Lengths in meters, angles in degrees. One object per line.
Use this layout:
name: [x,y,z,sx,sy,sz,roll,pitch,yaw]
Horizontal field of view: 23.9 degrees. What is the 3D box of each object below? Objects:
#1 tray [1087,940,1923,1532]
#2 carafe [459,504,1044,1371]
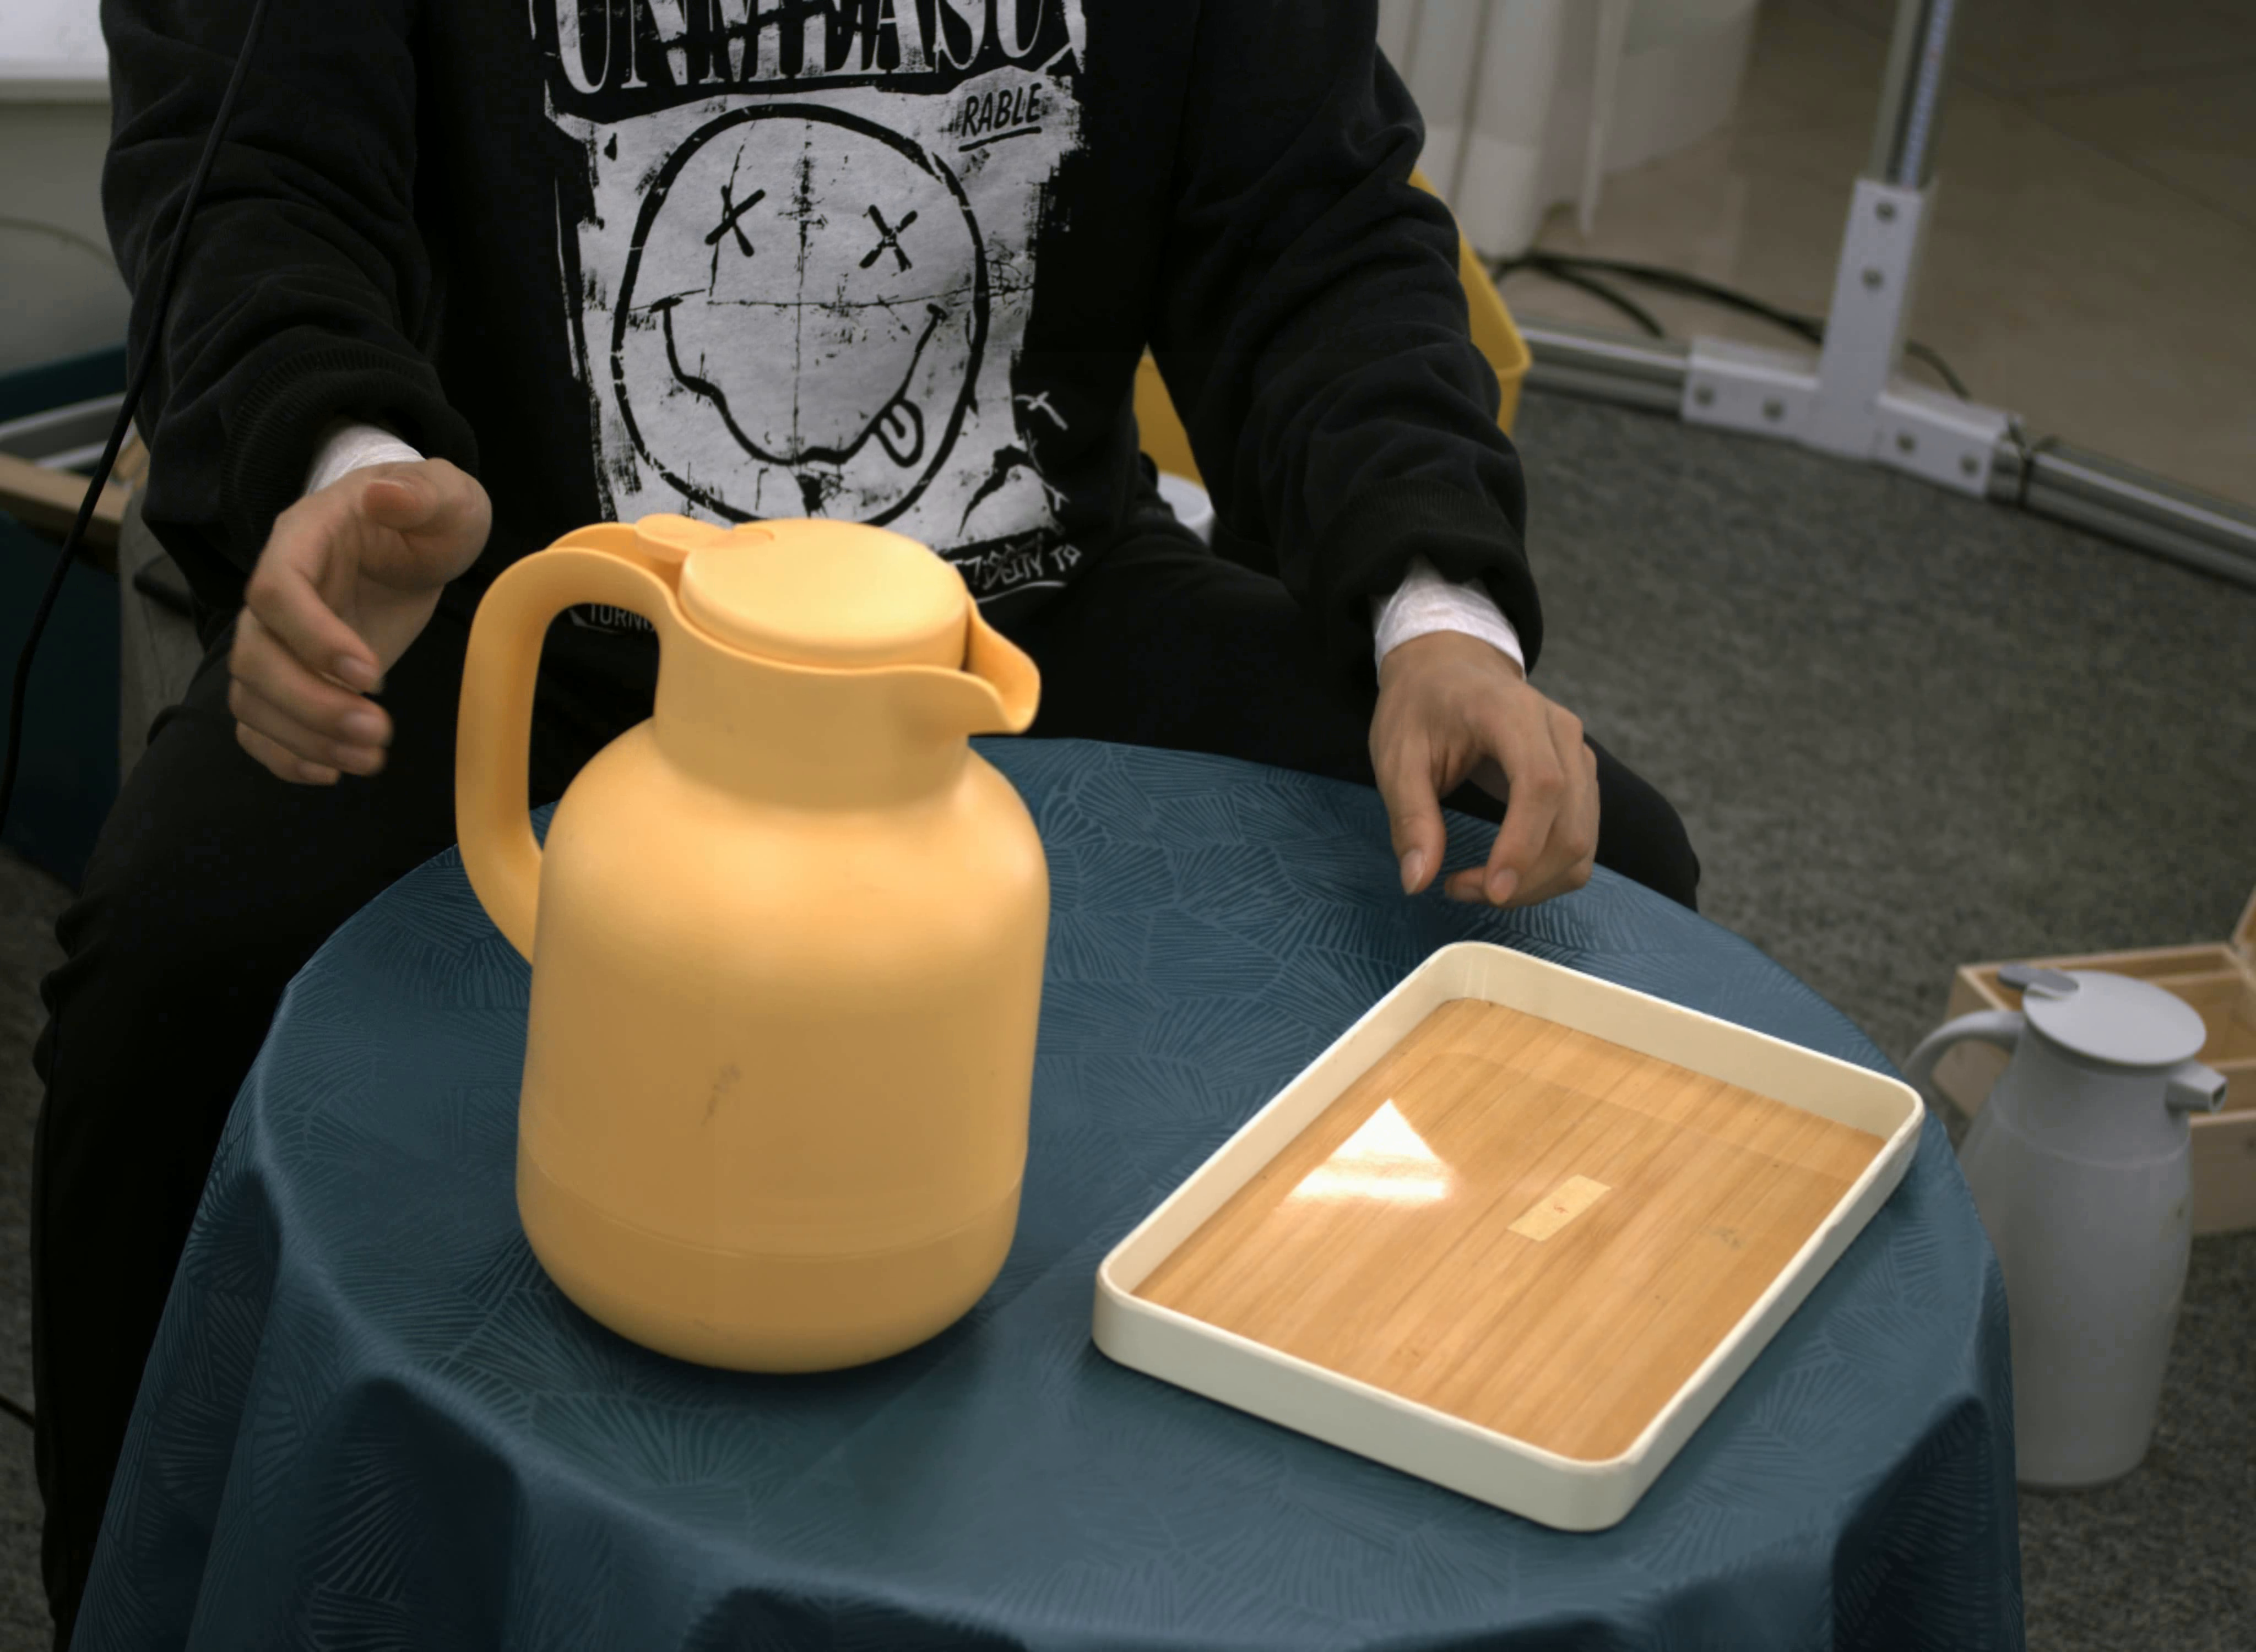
tray: [0.132,0.131,1.791,0.192,0.027,0.300,19,29,22]
carafe: [-0.124,0.025,1.684,0.203,0.260,0.163,22,28,24]
